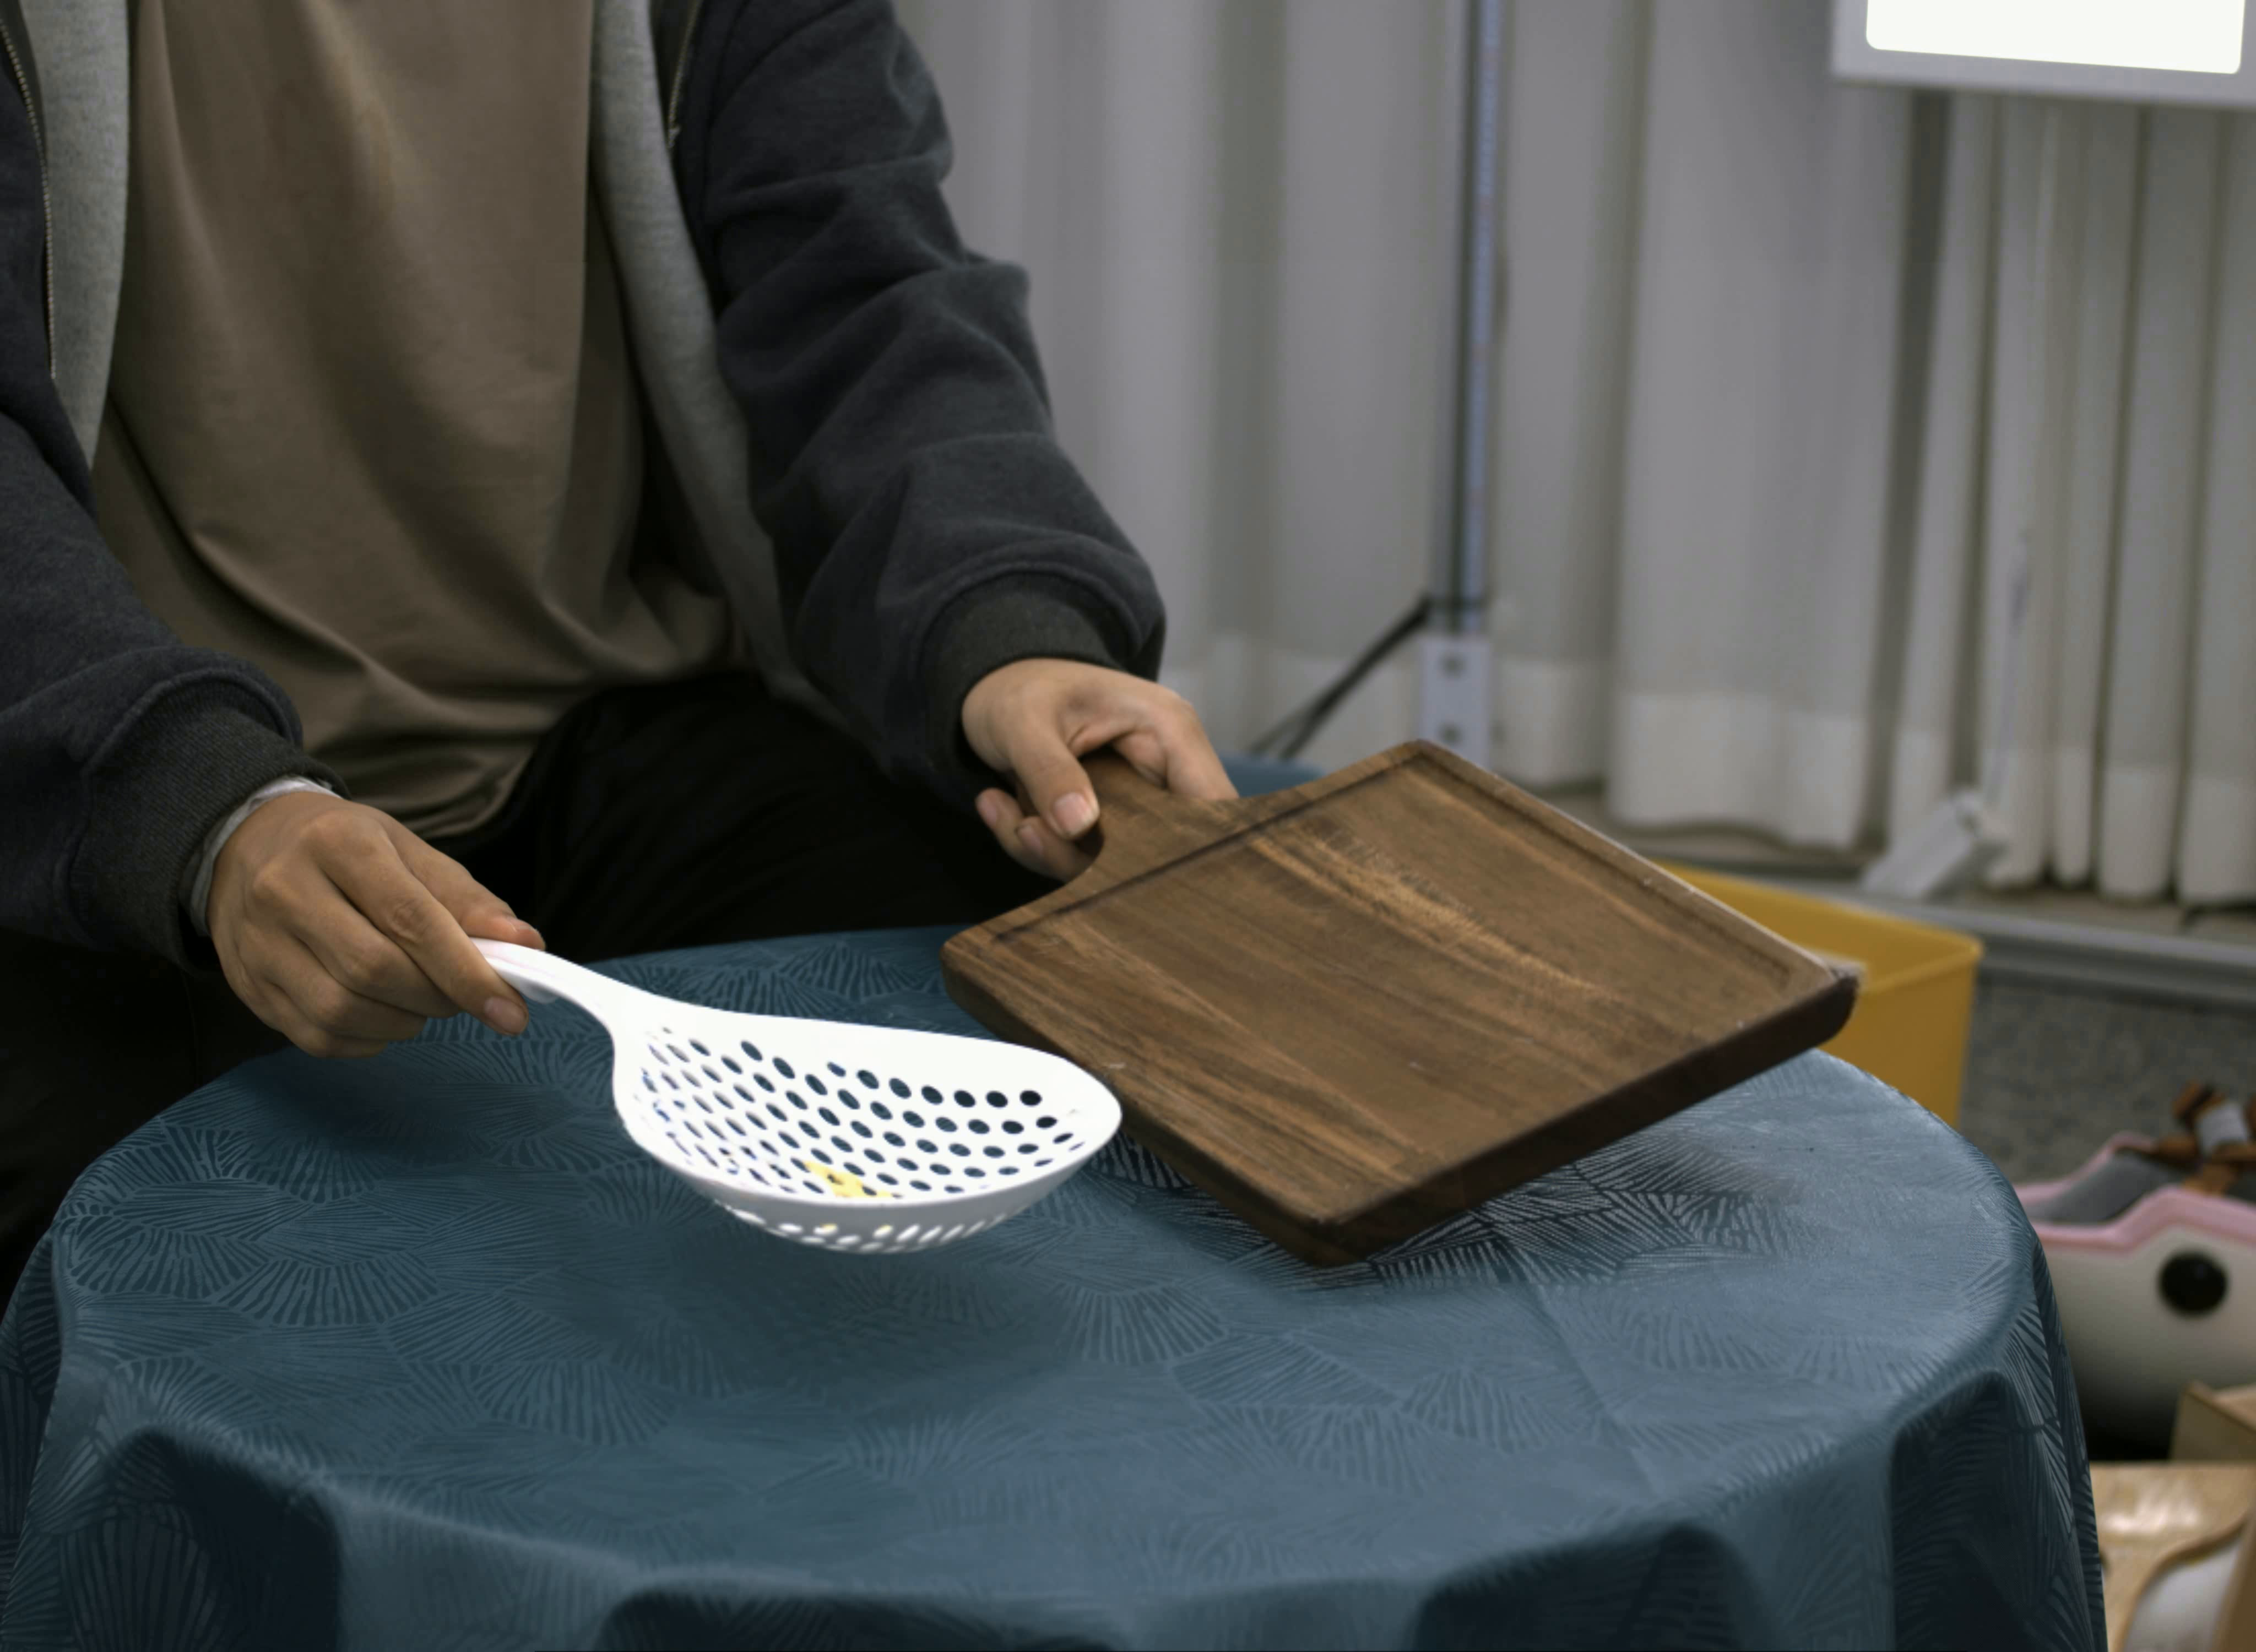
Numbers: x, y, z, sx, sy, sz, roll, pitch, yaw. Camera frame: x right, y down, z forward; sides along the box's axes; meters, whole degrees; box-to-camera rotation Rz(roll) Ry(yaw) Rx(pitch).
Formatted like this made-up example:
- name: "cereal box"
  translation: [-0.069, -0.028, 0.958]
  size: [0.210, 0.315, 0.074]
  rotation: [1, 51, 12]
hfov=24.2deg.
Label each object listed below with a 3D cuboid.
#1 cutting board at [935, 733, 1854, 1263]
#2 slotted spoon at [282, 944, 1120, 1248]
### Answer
- name: "cutting board"
  translation: [0.056, 0.033, 1.707]
  size: [0.201, 0.023, 0.347]
  rotation: [-23, 29, -22]
- name: "slotted spoon"
  translation: [-0.146, 0.067, 1.588]
  size: [0.137, 0.051, 0.343]
  rotation: [-18, 29, -40]
